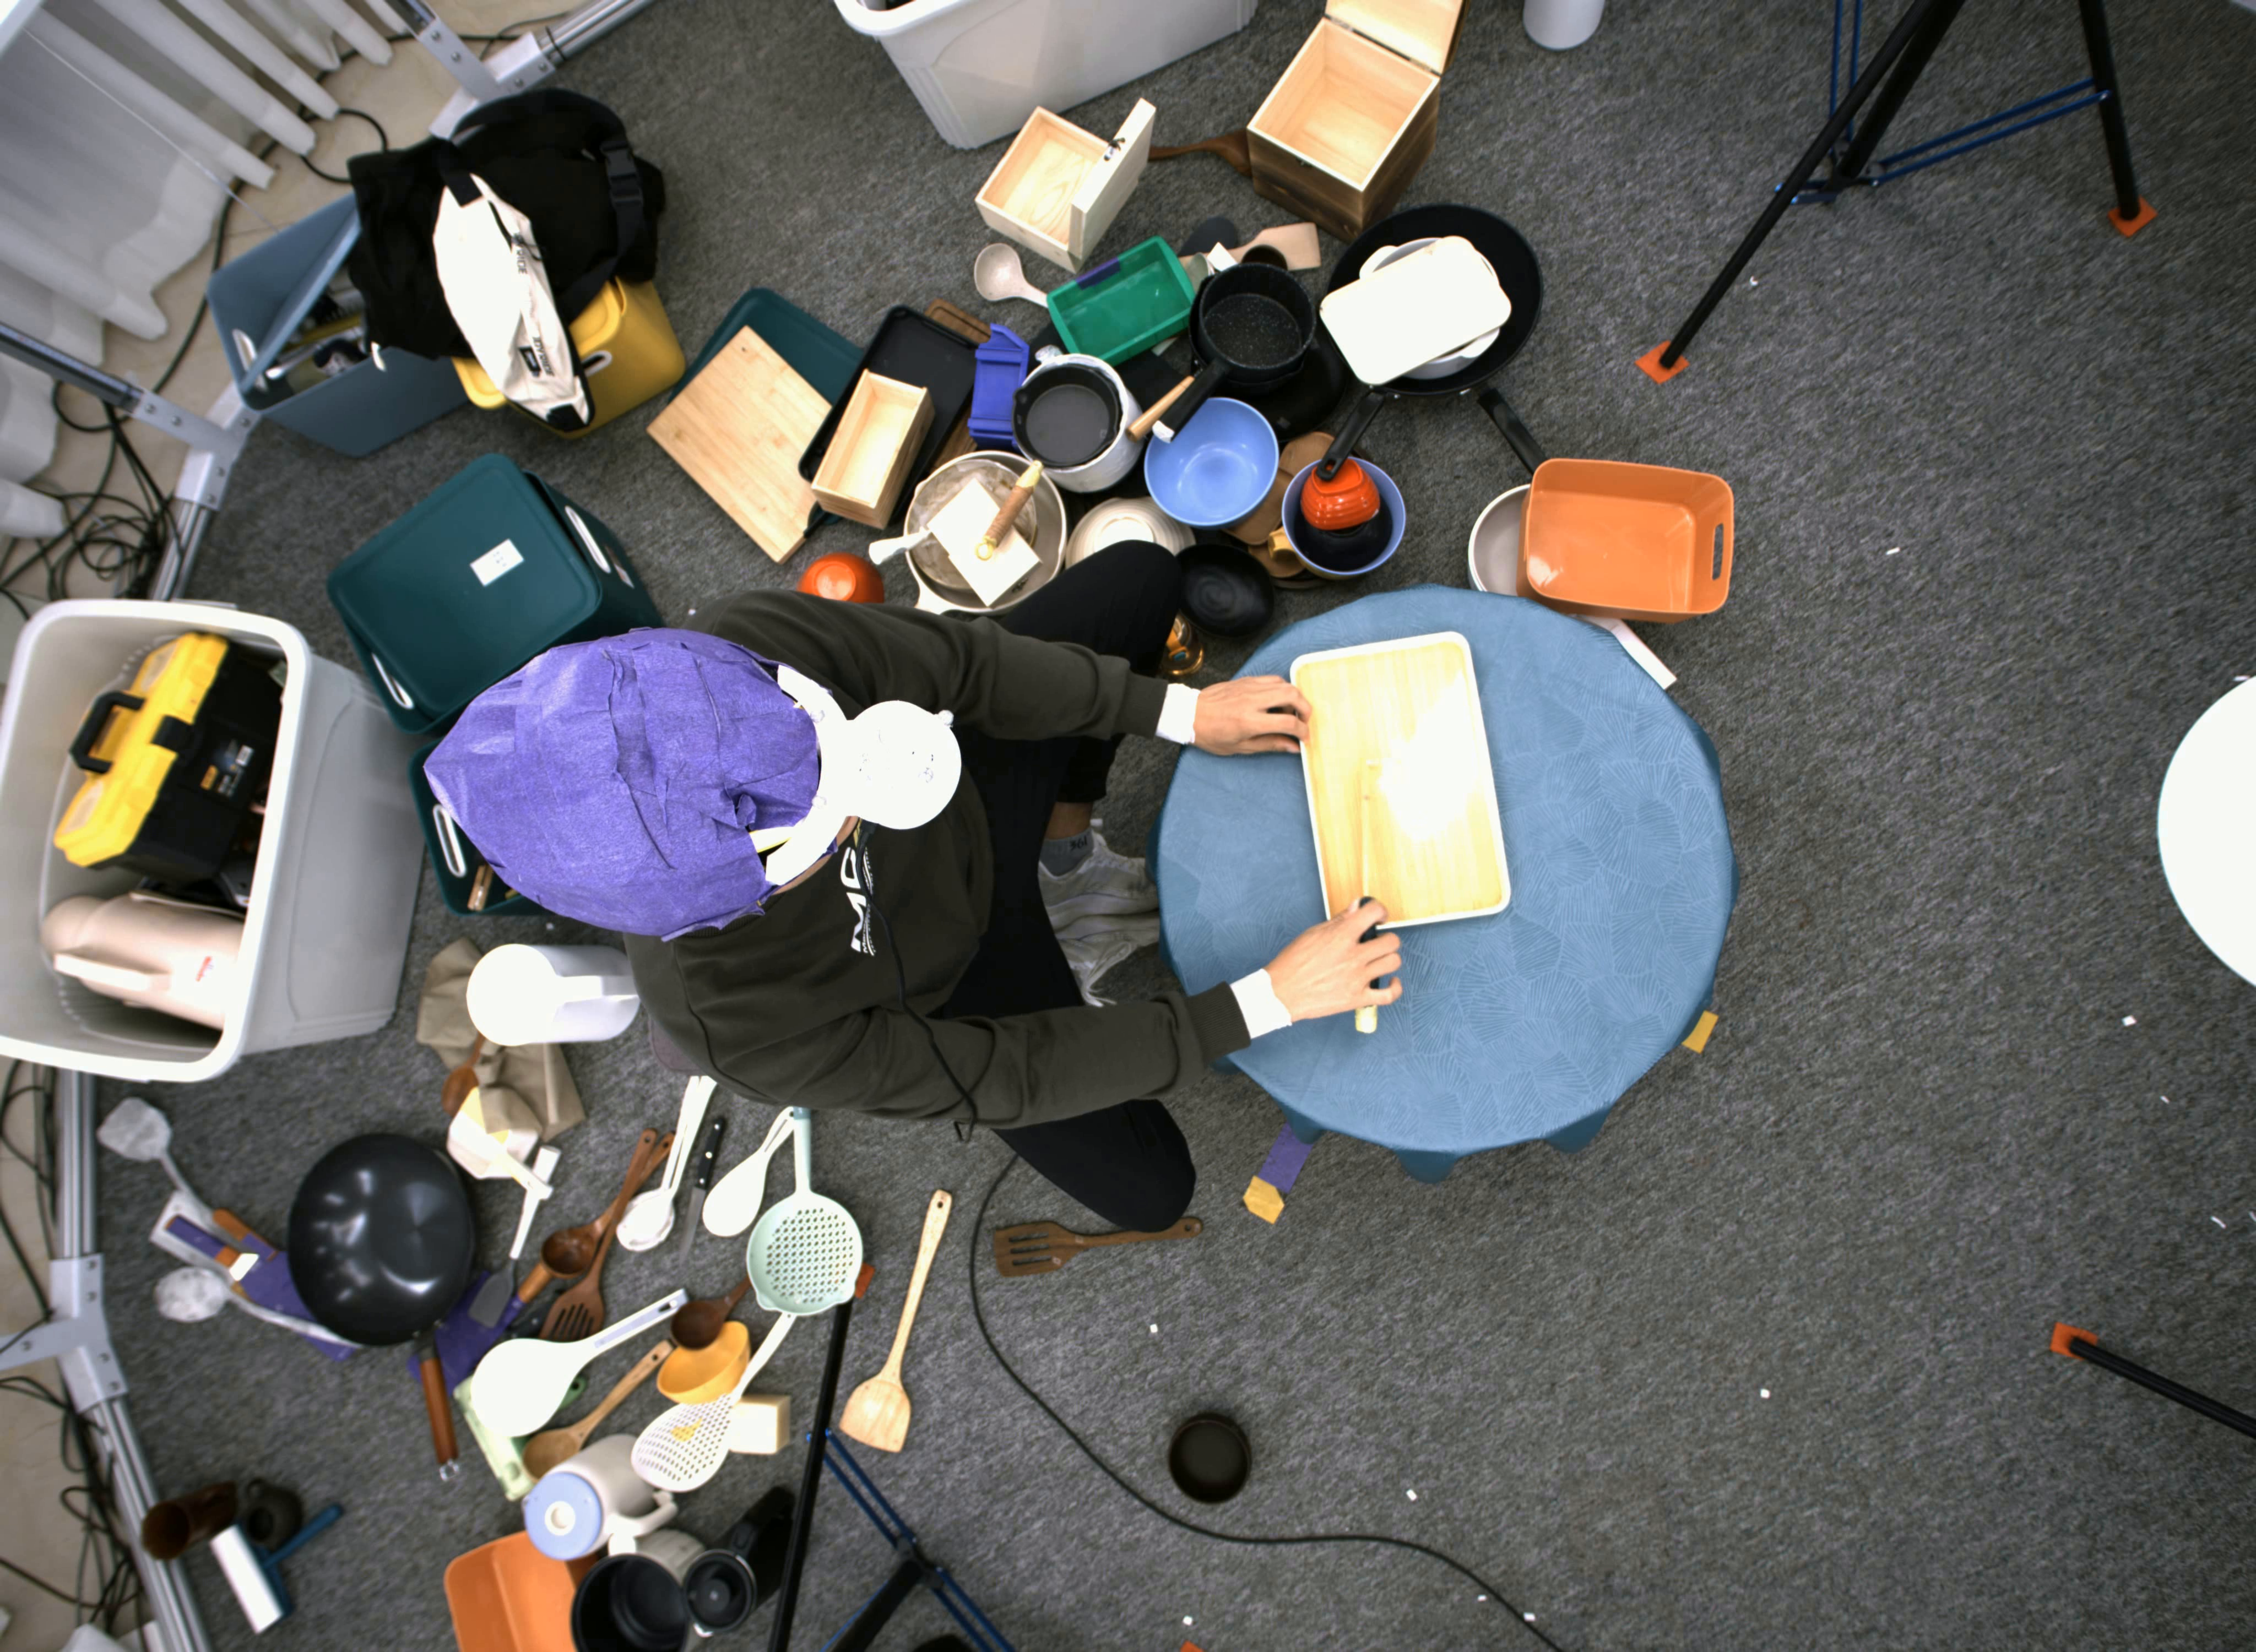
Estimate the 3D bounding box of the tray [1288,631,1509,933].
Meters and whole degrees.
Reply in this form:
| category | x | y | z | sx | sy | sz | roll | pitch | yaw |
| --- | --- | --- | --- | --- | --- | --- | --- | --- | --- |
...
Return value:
| category | x | y | z | sx | sy | sz | roll | pitch | yaw |
| --- | --- | --- | --- | --- | --- | --- | --- | --- | --- |
| tray | 0.282 | -0.047 | 1.447 | 0.192 | 0.027 | 0.298 | -8 | 85 | 9 |

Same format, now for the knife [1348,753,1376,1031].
| category | x | y | z | sx | sy | sz | roll | pitch | yaw |
| --- | --- | --- | --- | --- | --- | --- | --- | --- | --- |
| knife | 0.245 | 0.064 | 1.413 | 0.027 | 0.081 | 0.287 | 3 | 83 | 15 |
